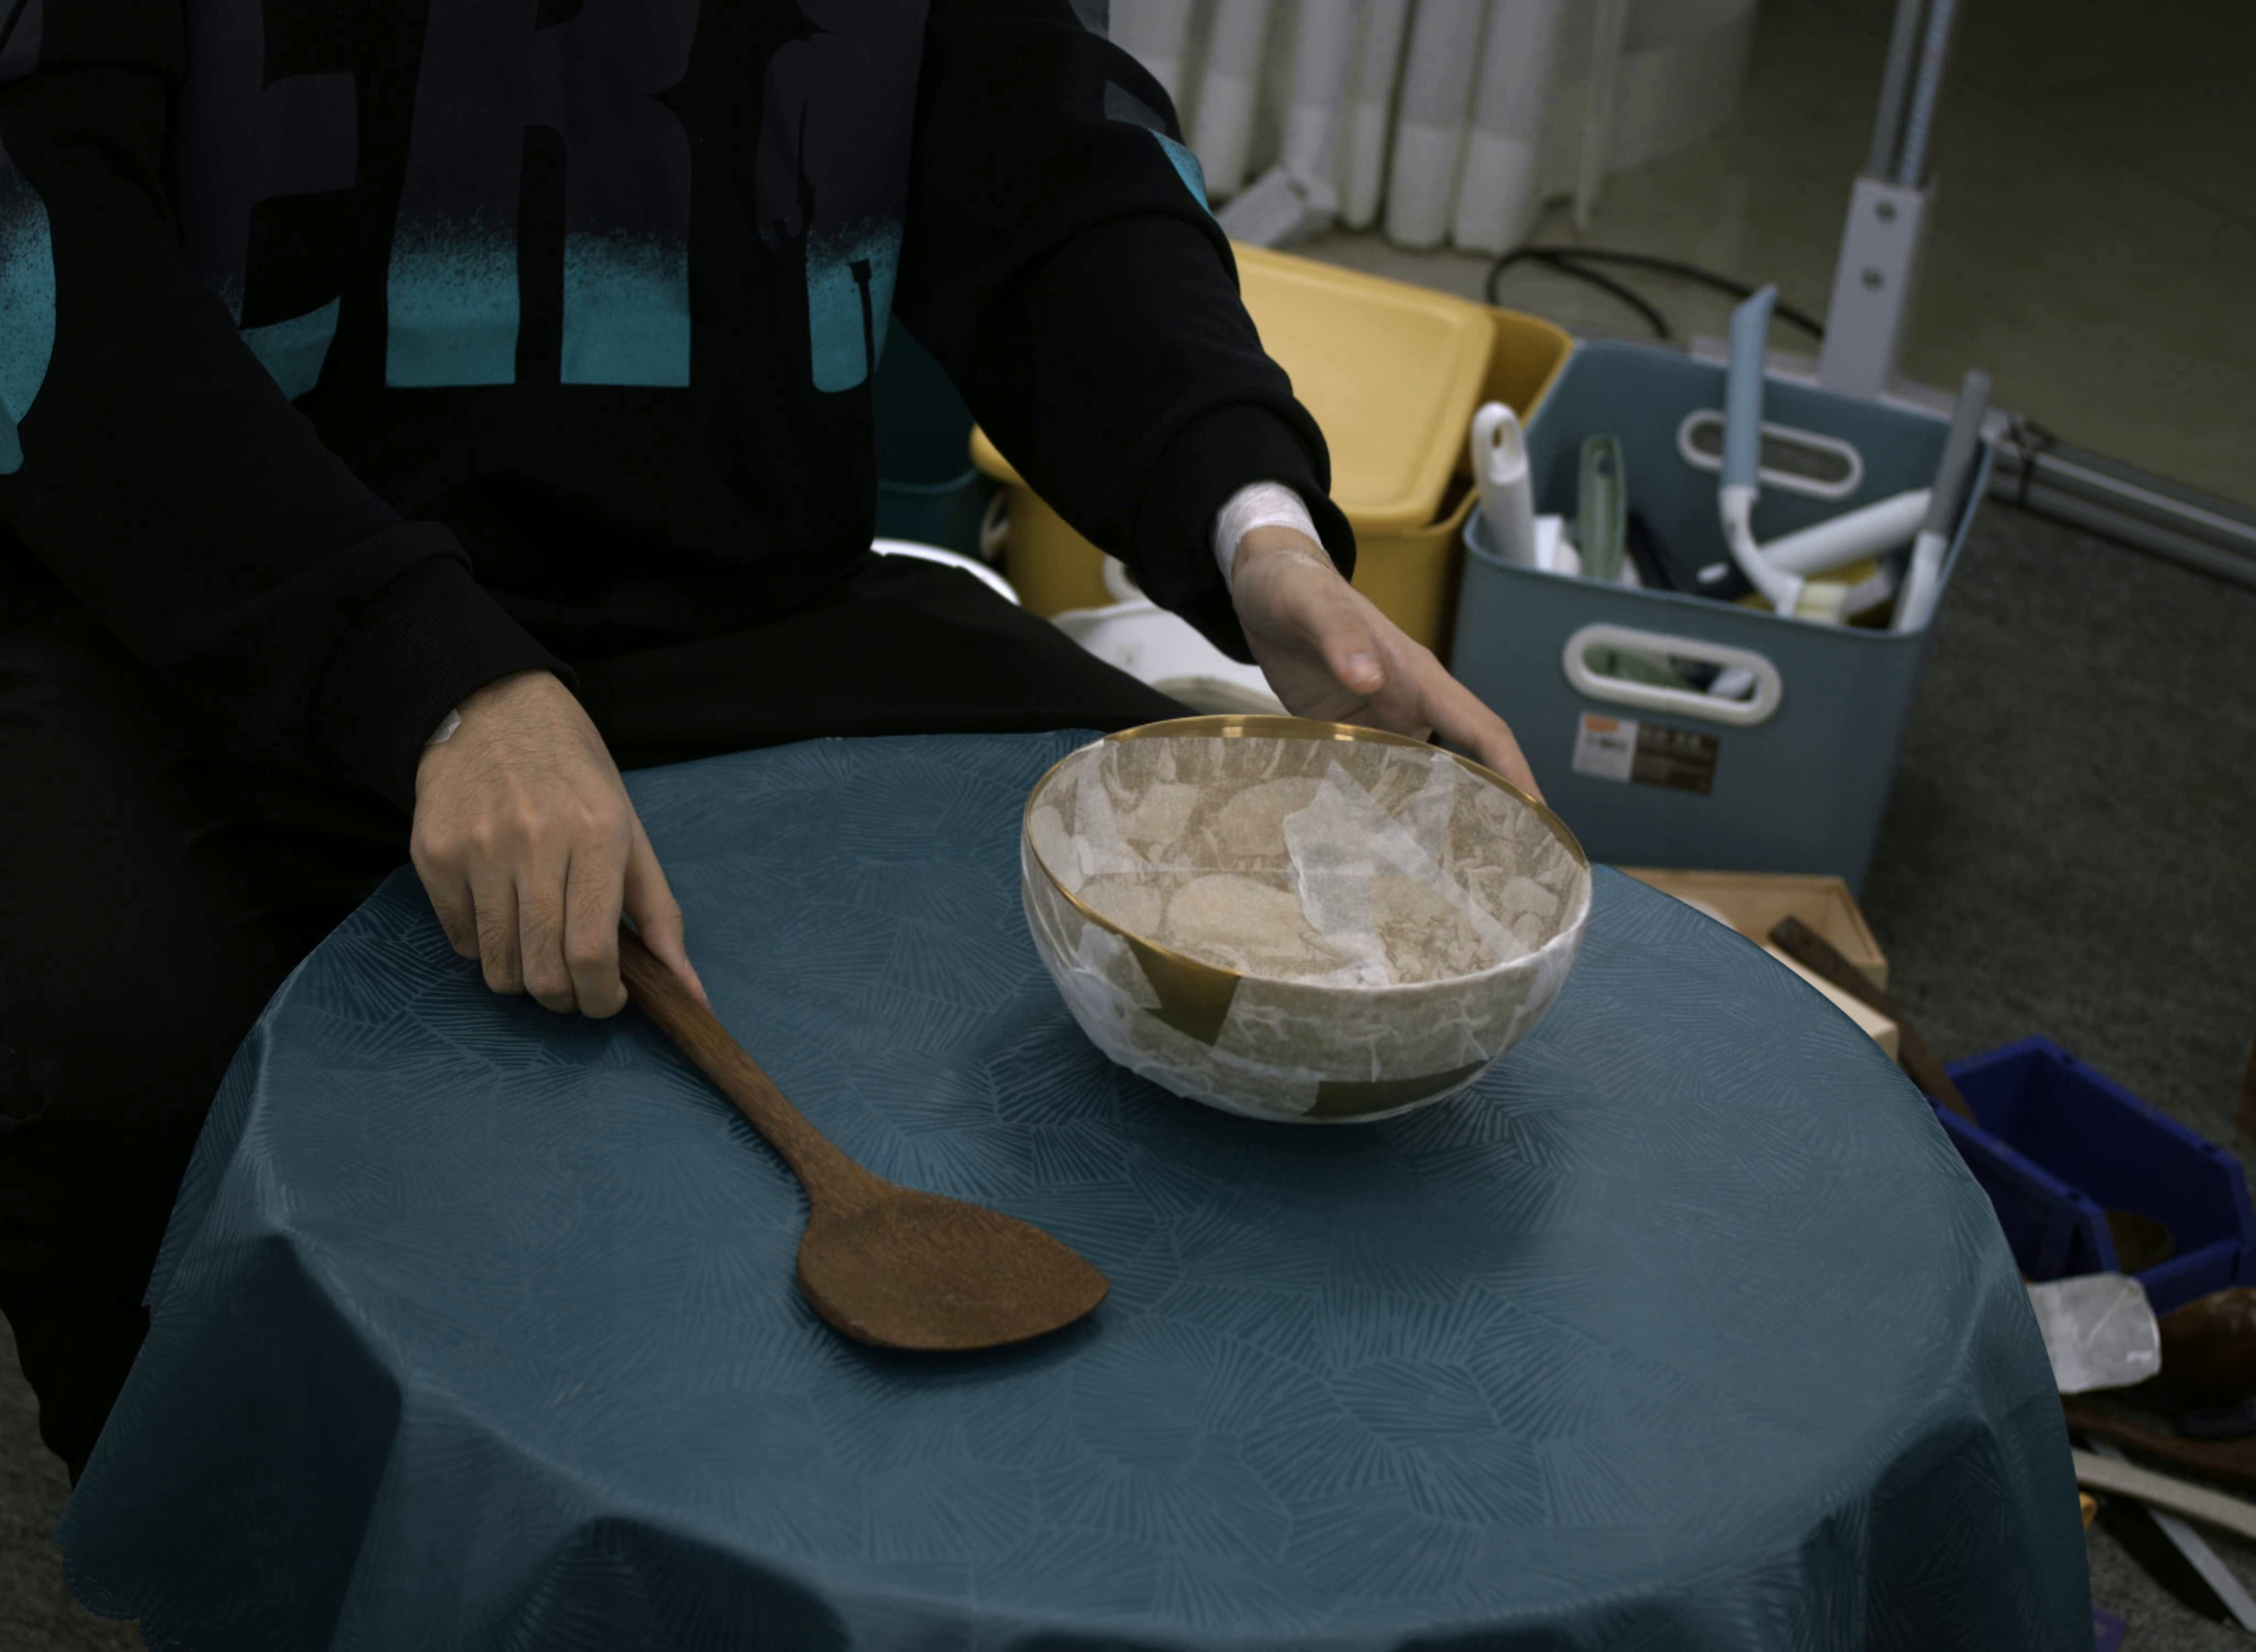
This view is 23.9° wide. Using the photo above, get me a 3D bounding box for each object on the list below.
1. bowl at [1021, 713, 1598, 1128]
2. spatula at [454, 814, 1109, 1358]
[{"bbox_3d":[0.059,0.044,1.869,0.214,0.094,0.216,3,26,-2],"label":"bowl"},{"bbox_3d":[-0.140,0.081,1.833,0.095,0.016,0.389,-10,32,-32],"label":"spatula"}]
